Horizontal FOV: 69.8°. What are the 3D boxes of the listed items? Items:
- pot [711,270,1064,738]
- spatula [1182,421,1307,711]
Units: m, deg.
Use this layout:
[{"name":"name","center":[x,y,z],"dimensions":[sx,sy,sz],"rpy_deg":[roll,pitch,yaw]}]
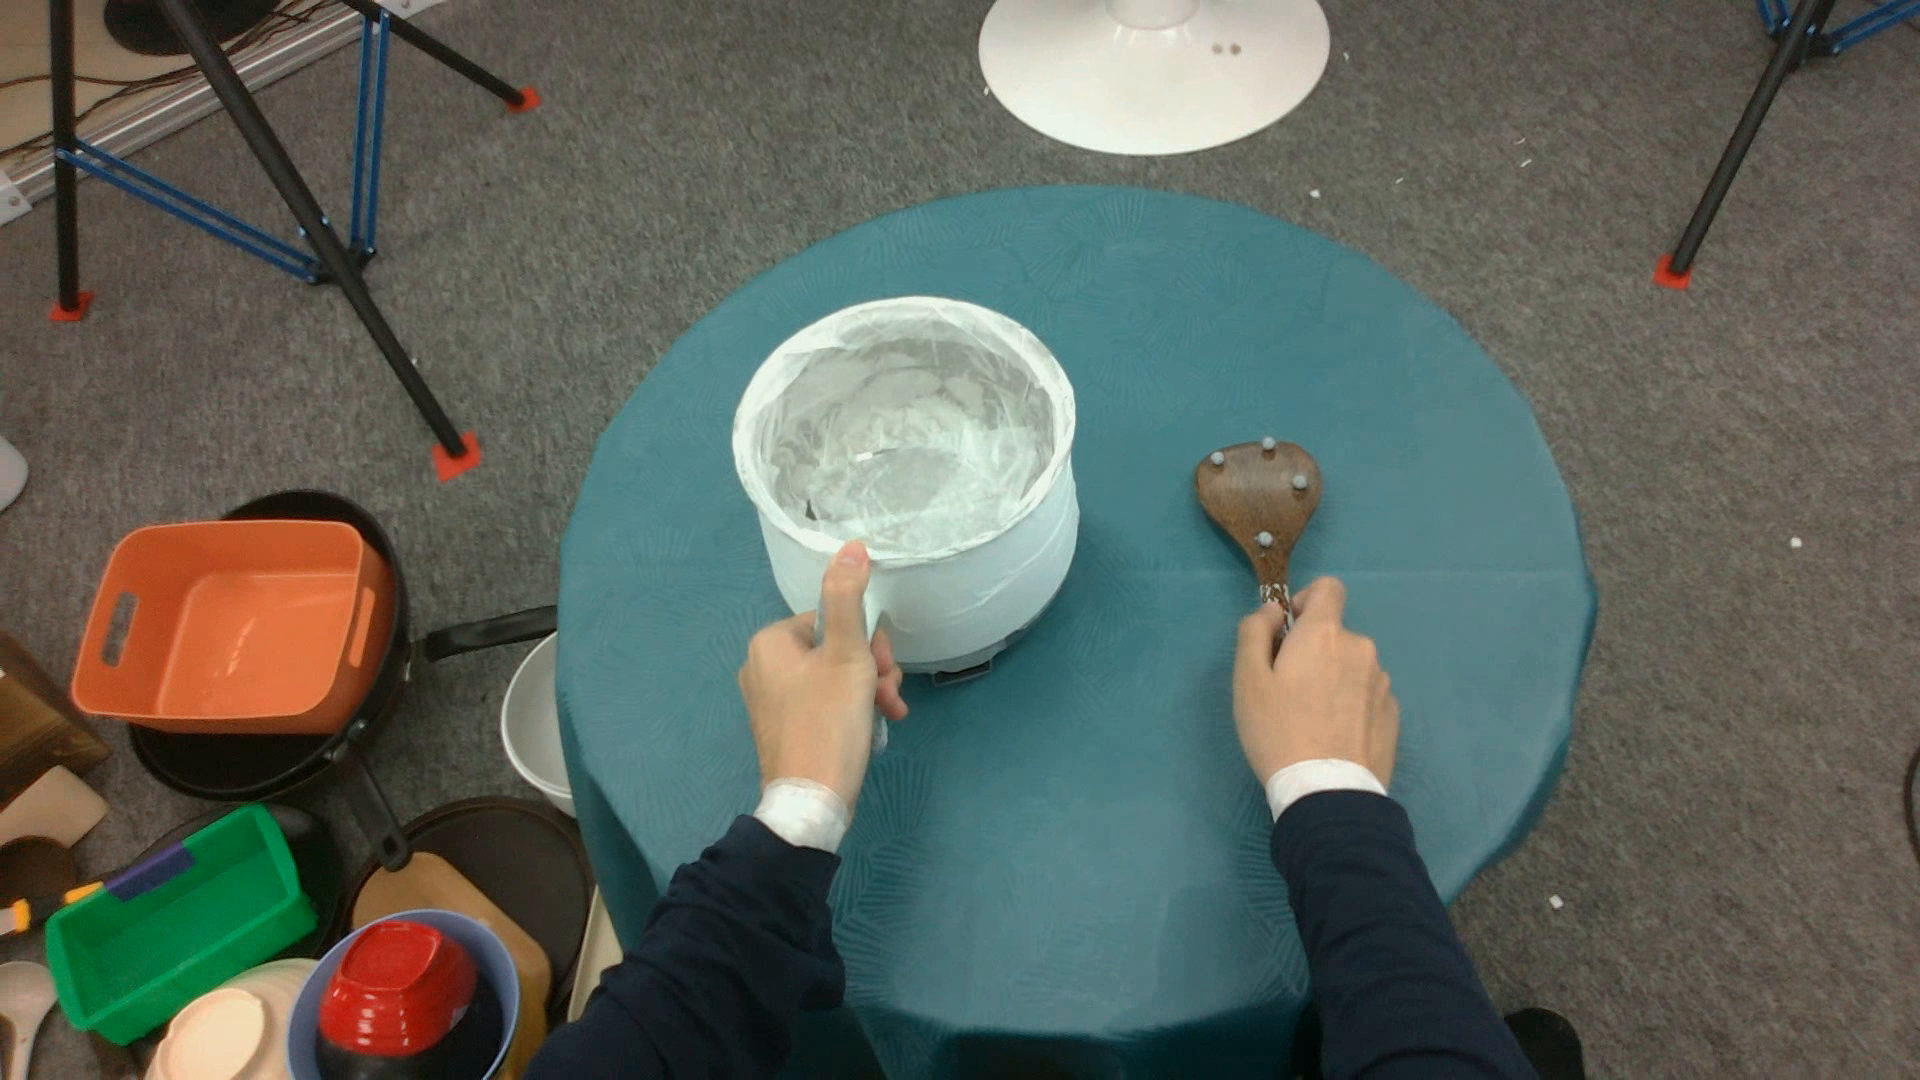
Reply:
[{"name":"pot","center":[-0.039,-0.017,0.737],"dimensions":[0.178,0.136,0.235],"rpy_deg":[8,56,13]},{"name":"spatula","center":[0.164,0.006,0.766],"dimensions":[0.072,0.009,0.217],"rpy_deg":[-4,48,9]}]
